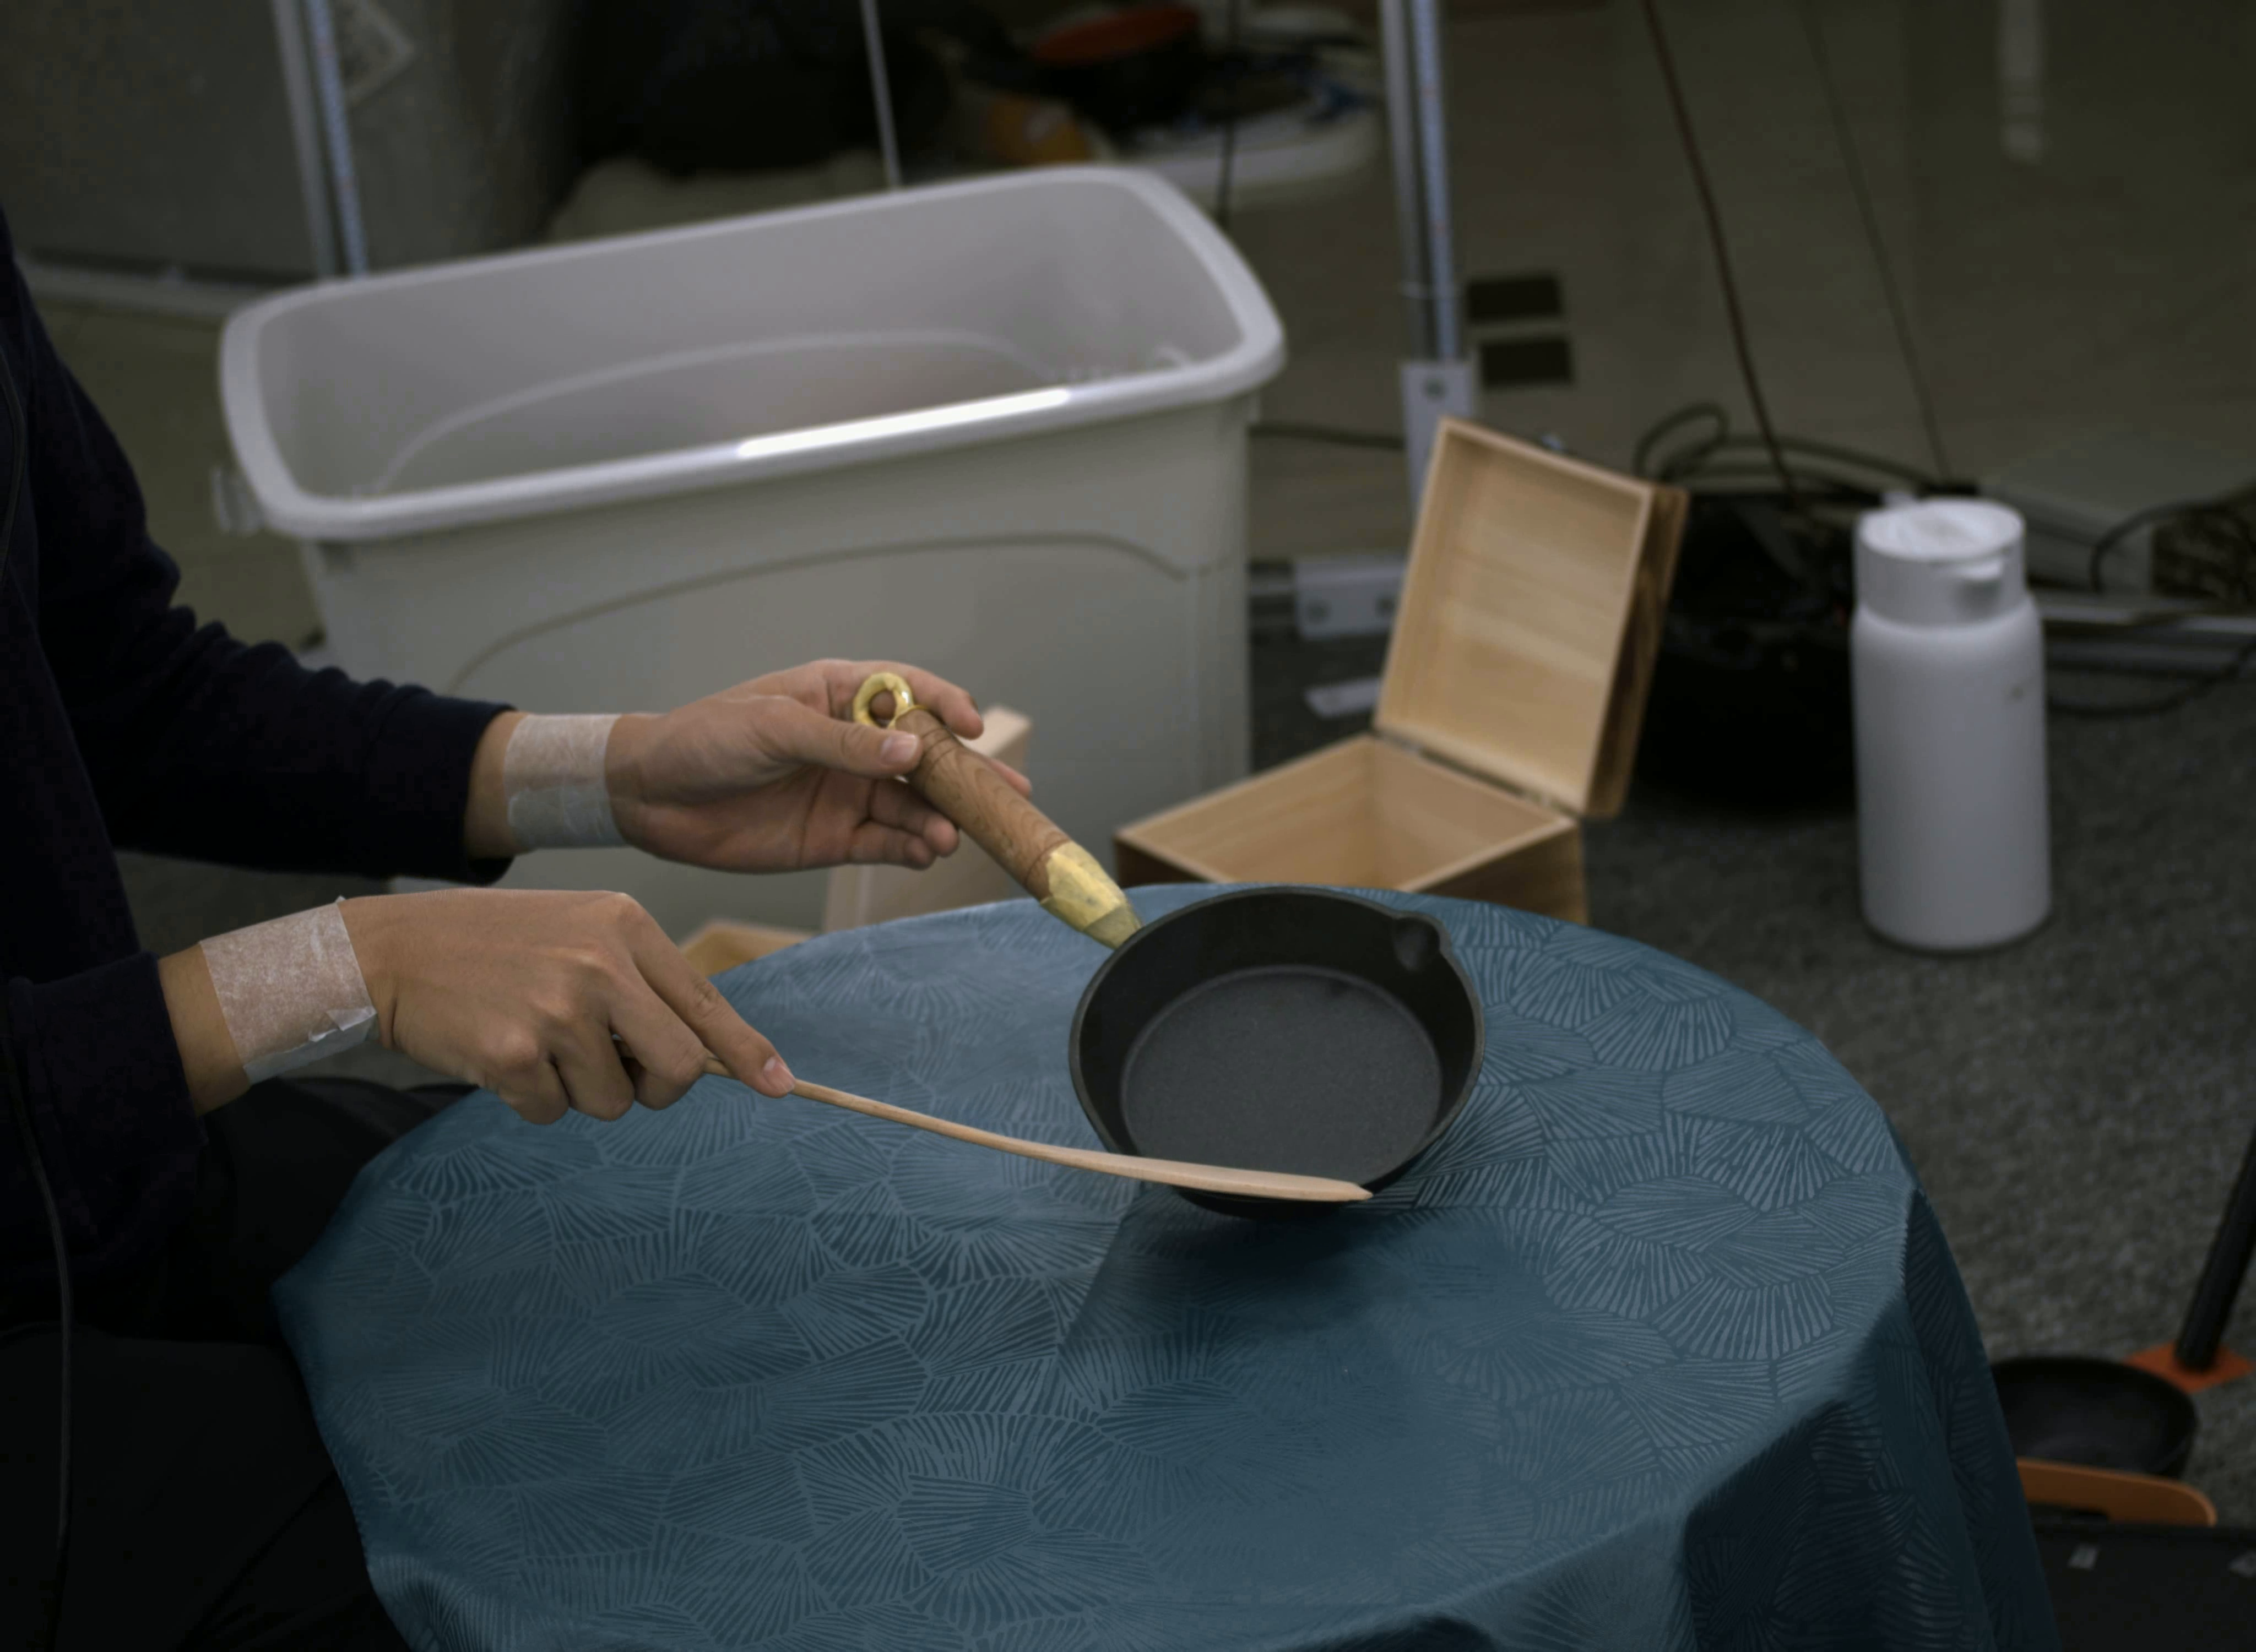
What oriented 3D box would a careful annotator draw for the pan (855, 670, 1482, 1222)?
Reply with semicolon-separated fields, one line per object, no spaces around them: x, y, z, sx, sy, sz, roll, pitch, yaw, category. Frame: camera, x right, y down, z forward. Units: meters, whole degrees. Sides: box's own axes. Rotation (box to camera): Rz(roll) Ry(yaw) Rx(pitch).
0.002;0.040;2.185;0.167;0.050;0.320;-35;55;-22;pan

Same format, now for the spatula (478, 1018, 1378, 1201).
-0.074;0.103;2.048;0.327;0.016;0.080;13;-1;-9;spatula
